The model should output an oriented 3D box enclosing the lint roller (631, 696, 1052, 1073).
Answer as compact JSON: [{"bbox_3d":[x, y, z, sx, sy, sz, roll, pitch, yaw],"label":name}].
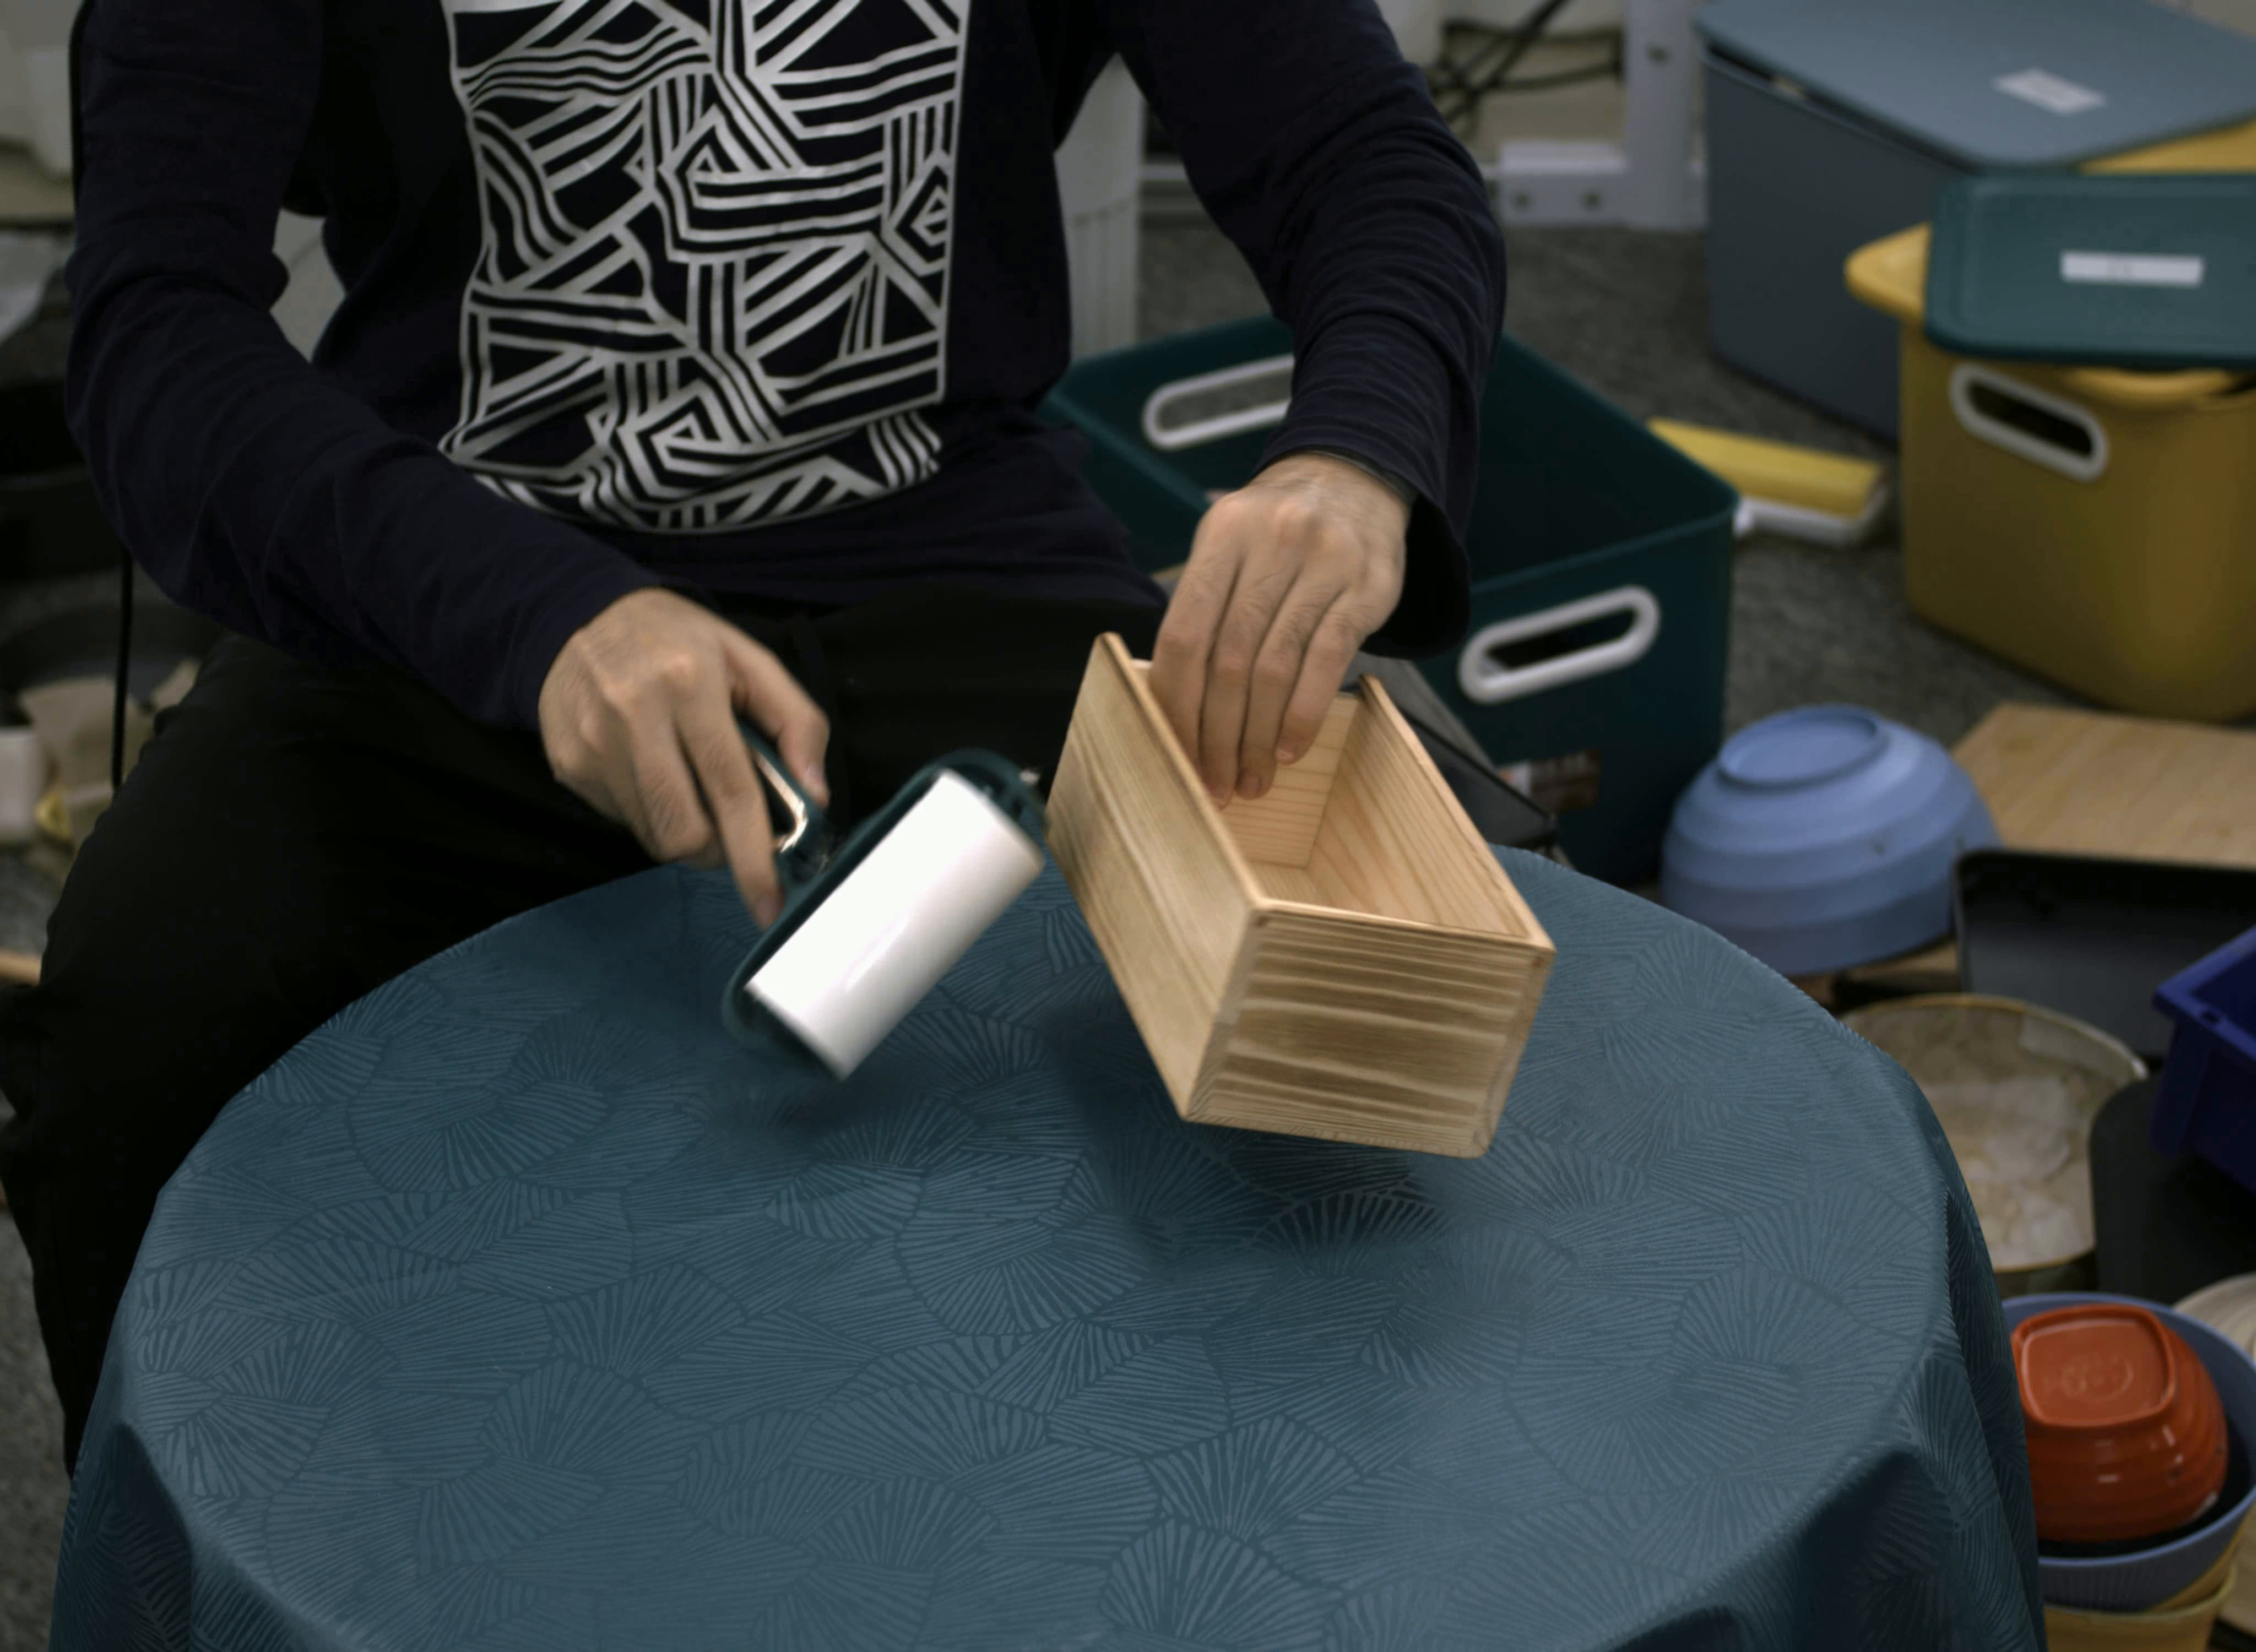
[{"bbox_3d":[-0.121,-0.006,1.949,0.181,0.048,0.135,36,80,33],"label":"lint roller"}]

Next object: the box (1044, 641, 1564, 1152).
[{"bbox_3d":[0.055,0.021,1.876,0.107,0.079,0.213,9,21,-20],"label":"box"}]
